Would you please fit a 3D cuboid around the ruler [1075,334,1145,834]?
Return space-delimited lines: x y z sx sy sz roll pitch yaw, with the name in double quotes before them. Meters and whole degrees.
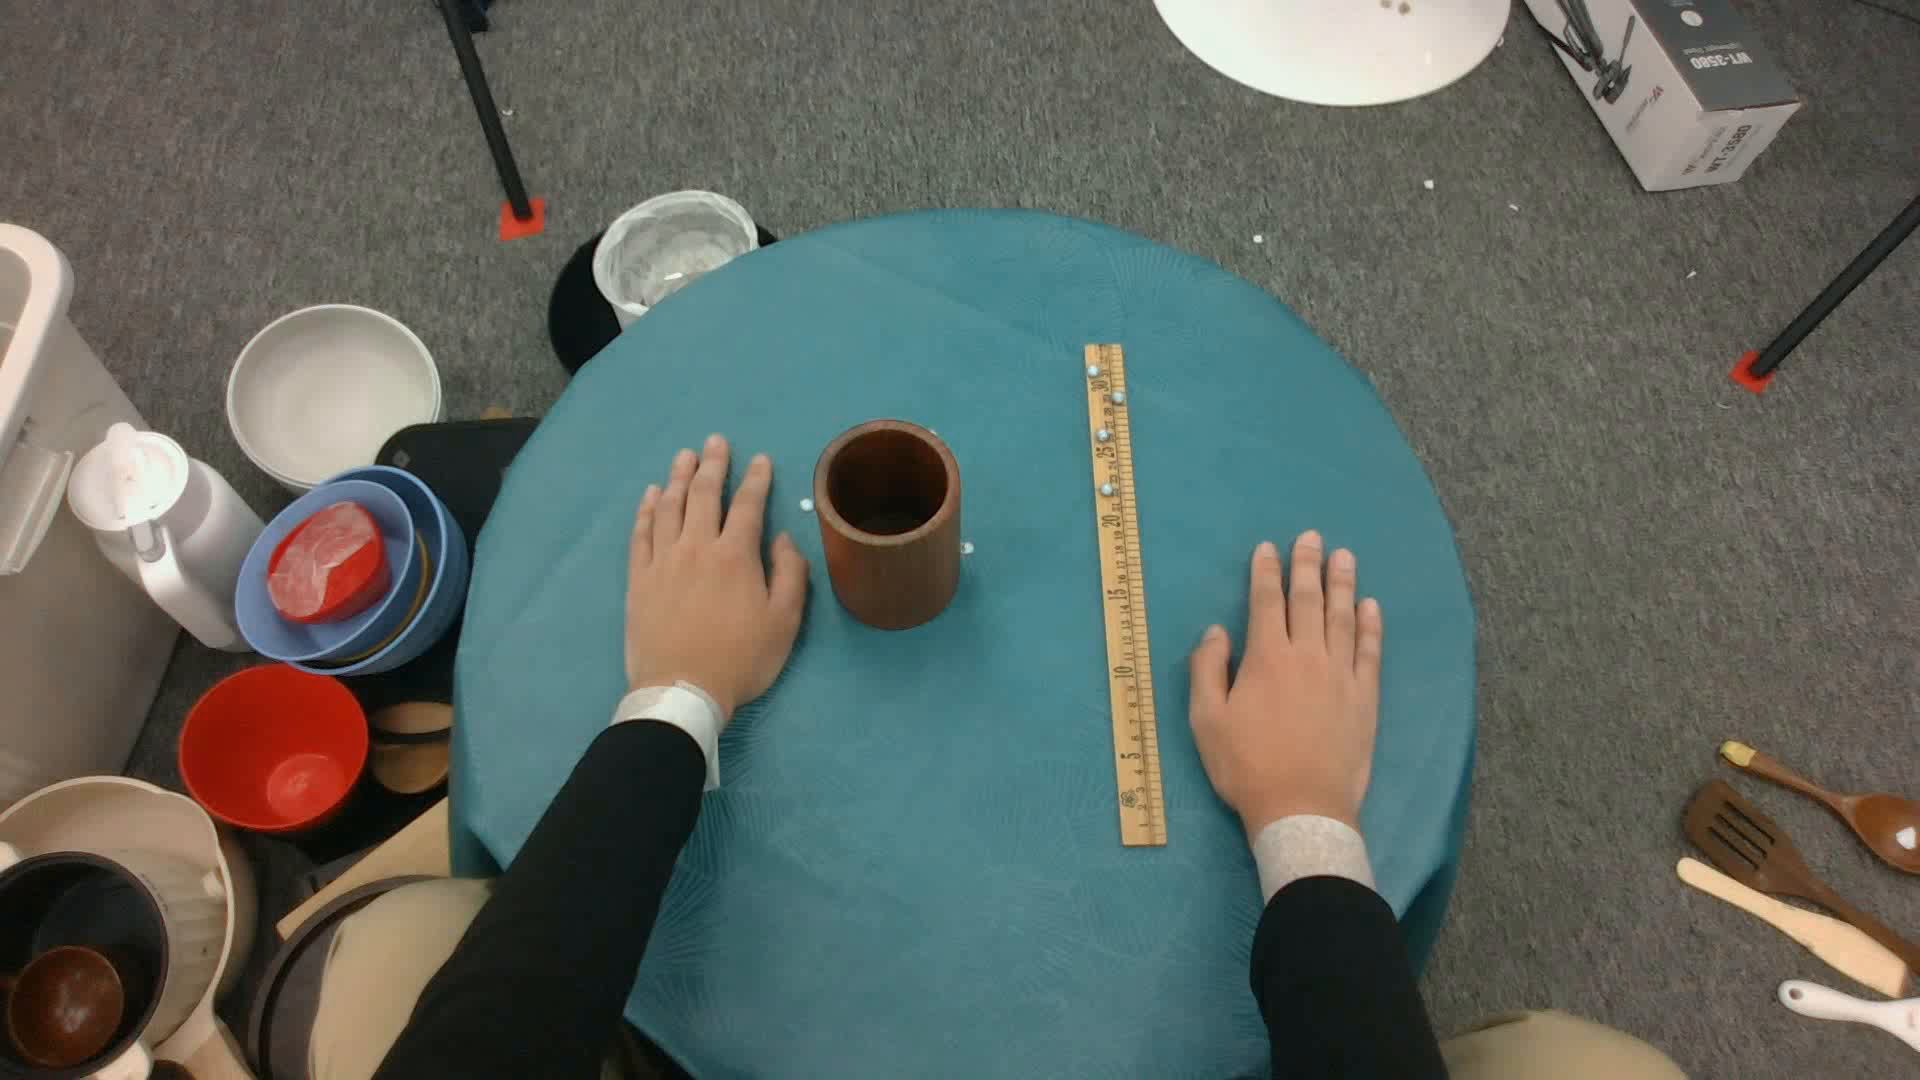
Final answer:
"ruler" 0.089 0.011 0.826 0.027 0.022 0.333 -2 62 3

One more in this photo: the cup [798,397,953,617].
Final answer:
"cup" -0.045 -0.017 0.778 0.088 0.118 0.088 0 63 0
